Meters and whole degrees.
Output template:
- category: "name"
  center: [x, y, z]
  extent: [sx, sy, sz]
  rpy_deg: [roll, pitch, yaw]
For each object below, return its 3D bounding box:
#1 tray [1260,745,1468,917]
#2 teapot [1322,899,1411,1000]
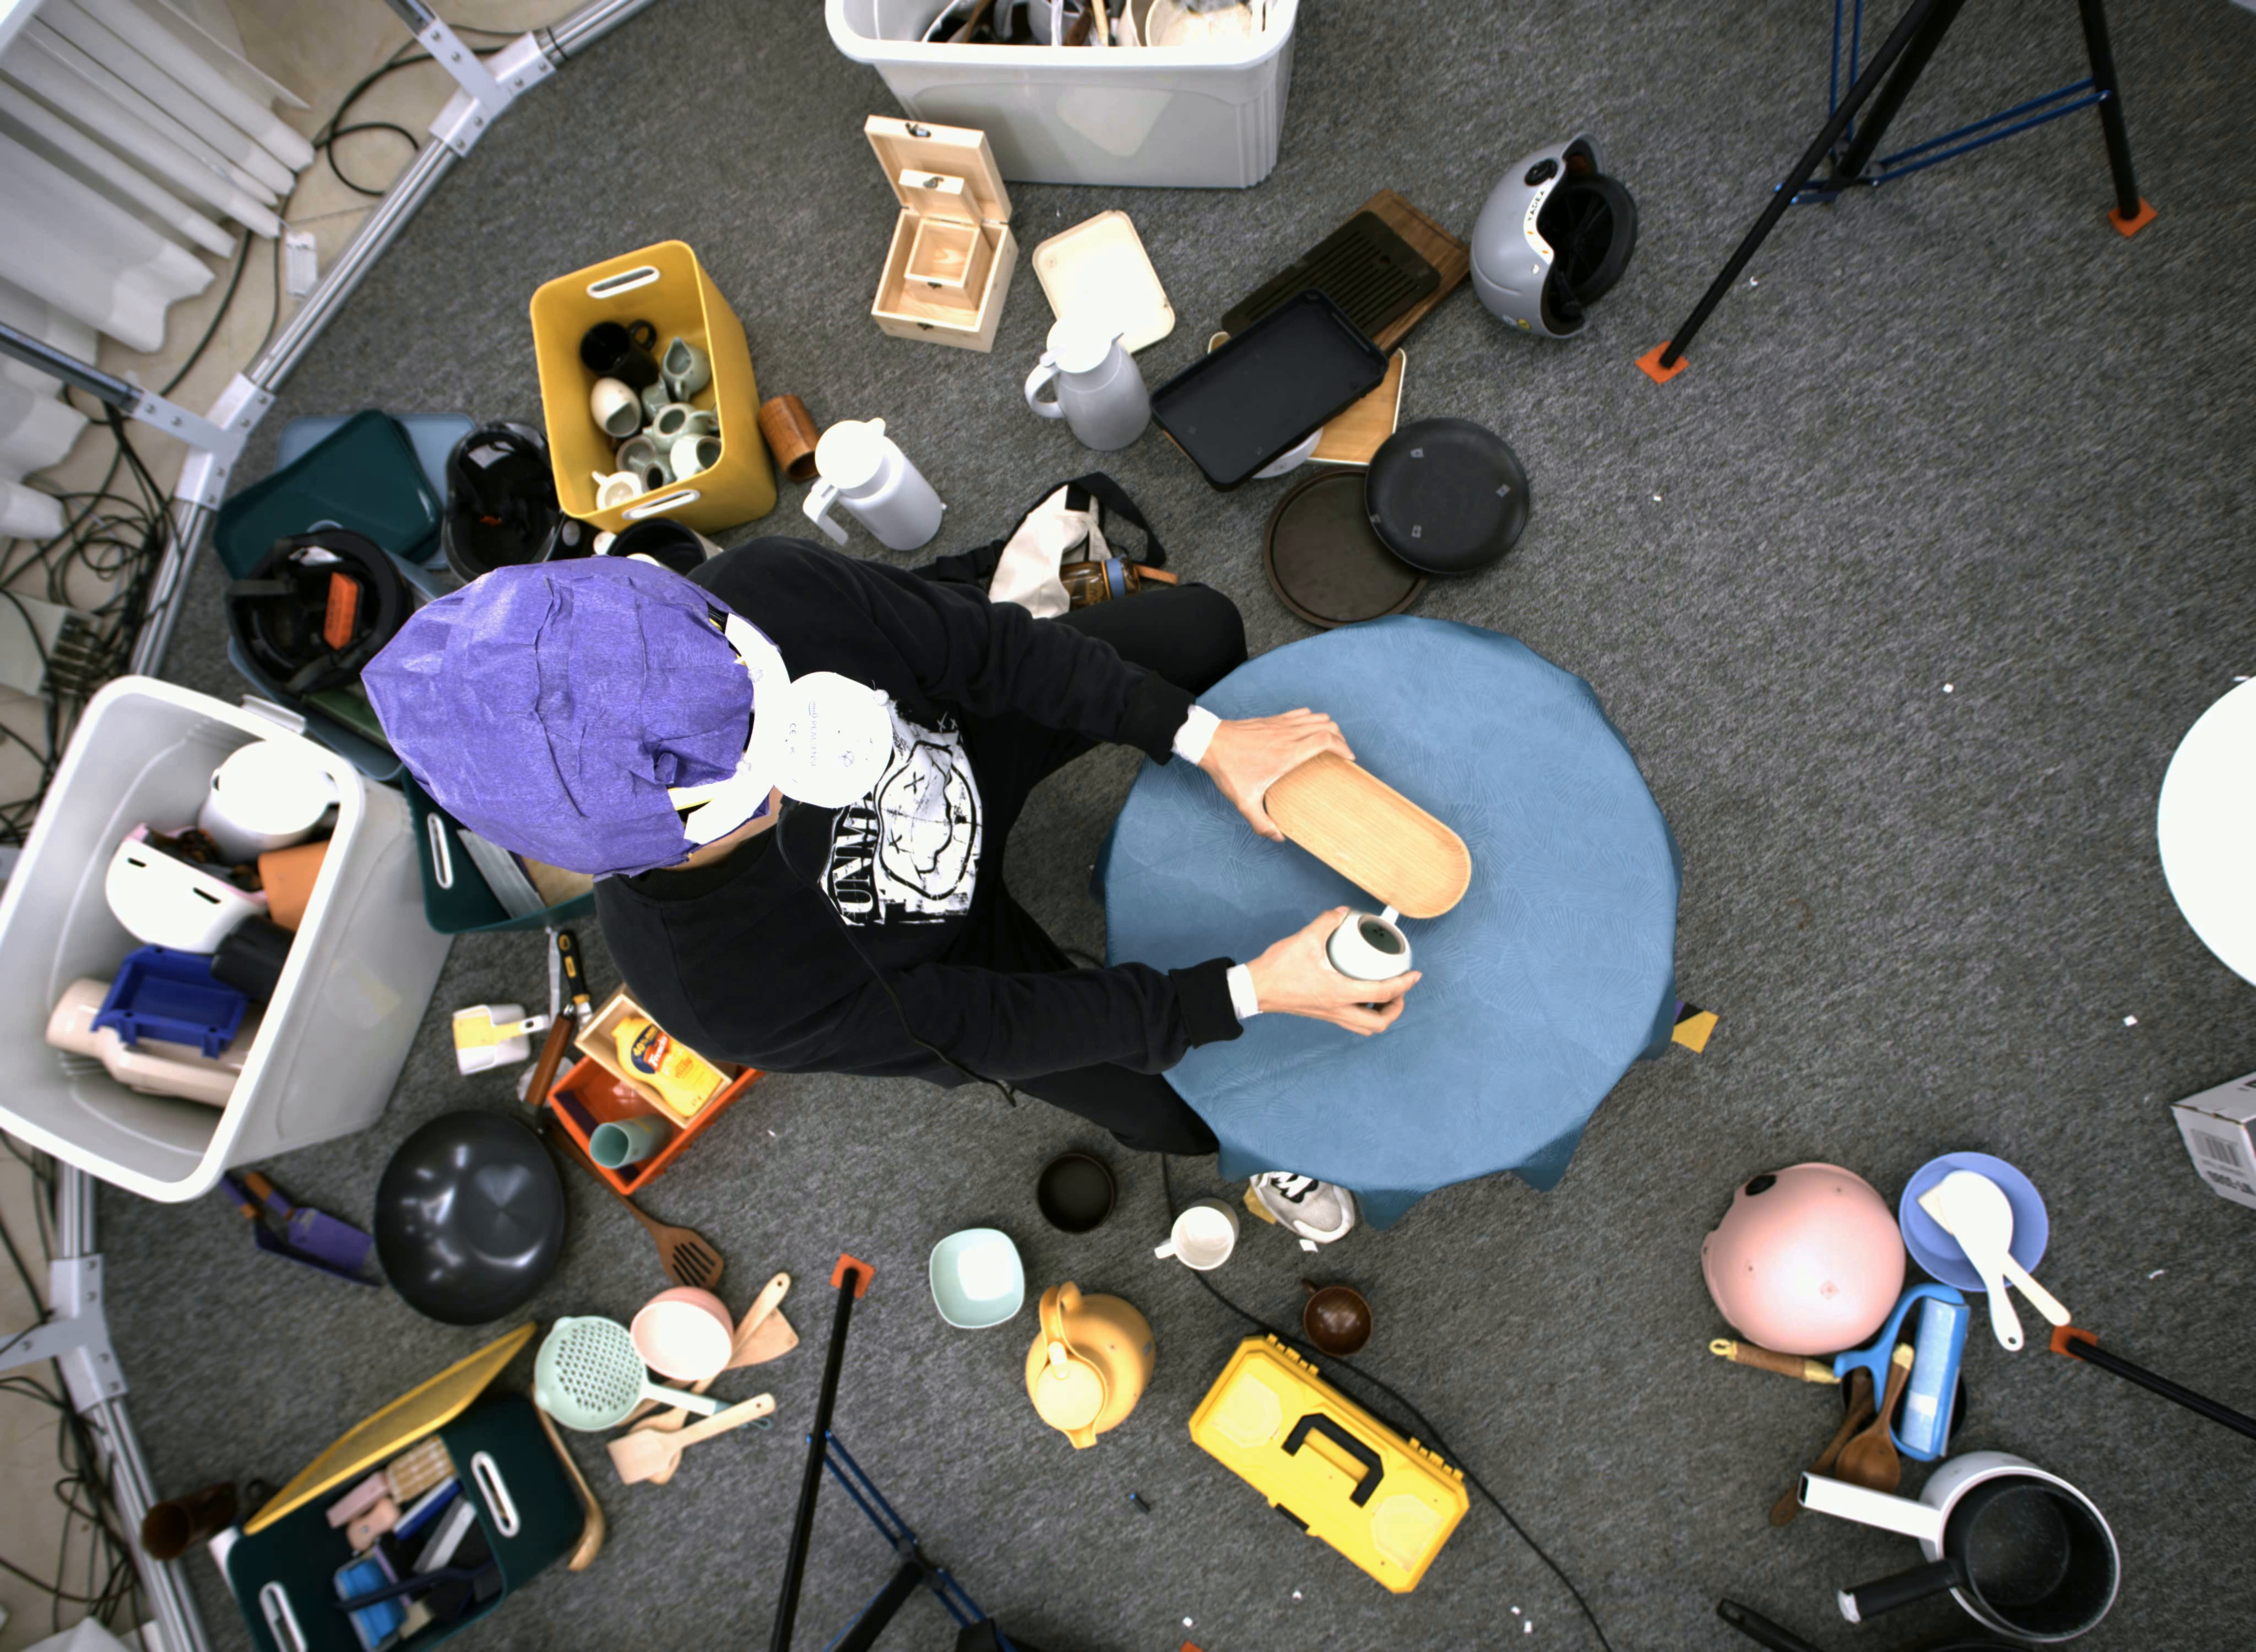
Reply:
- category: "tray"
  center: [0.240, 0.004, 1.408]
  extent: [0.231, 0.020, 0.102]
  rpy_deg: [34, 95, 7]
- category: "teapot"
  center: [0.235, 0.127, 1.362]
  extent: [0.088, 0.140, 0.076]
  rpy_deg: [32, 124, 10]
